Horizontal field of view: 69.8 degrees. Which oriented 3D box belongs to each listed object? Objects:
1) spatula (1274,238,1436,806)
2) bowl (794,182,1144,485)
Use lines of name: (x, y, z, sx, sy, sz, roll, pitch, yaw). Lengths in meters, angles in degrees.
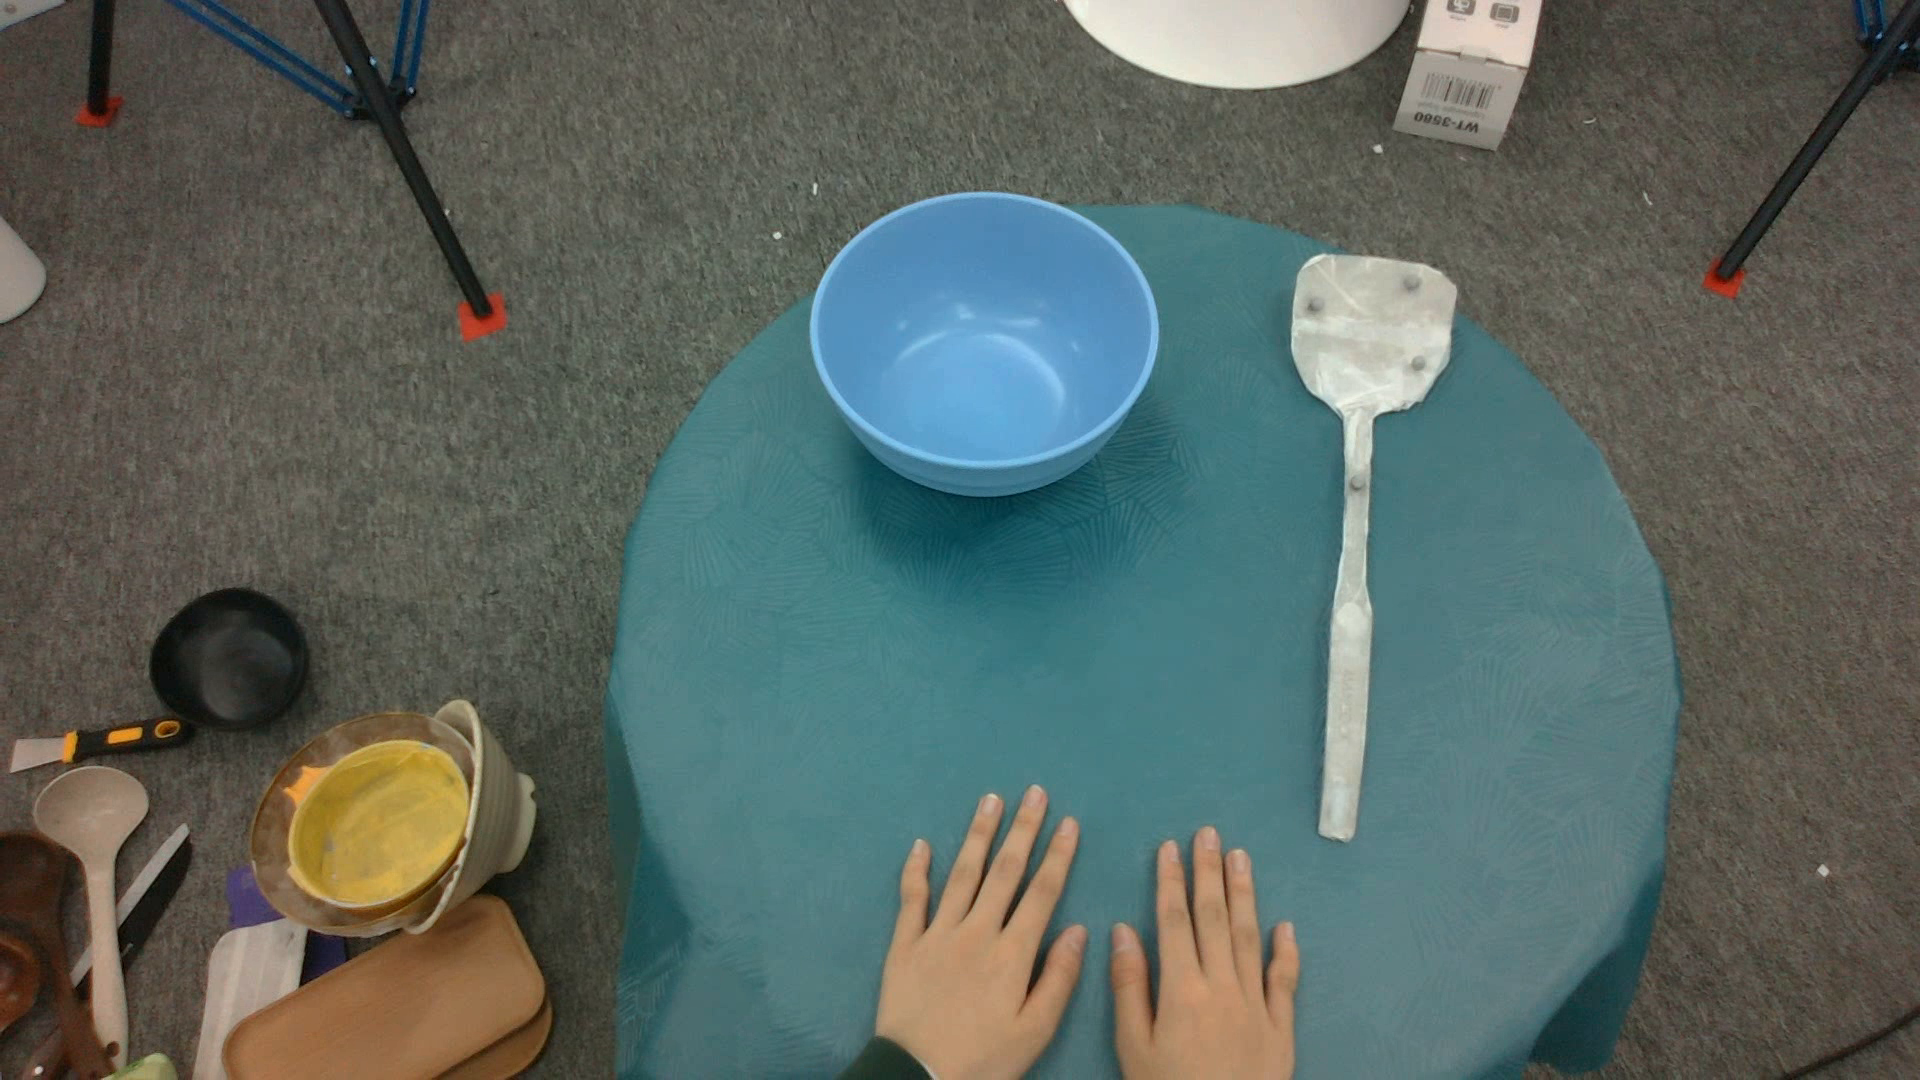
spatula: (0.217, -0.023, 0.797, 0.098, 0.044, 0.366, 11, 60, 4)
bowl: (0.005, -0.107, 0.810, 0.196, 0.095, 0.197, 1, 59, -1)
